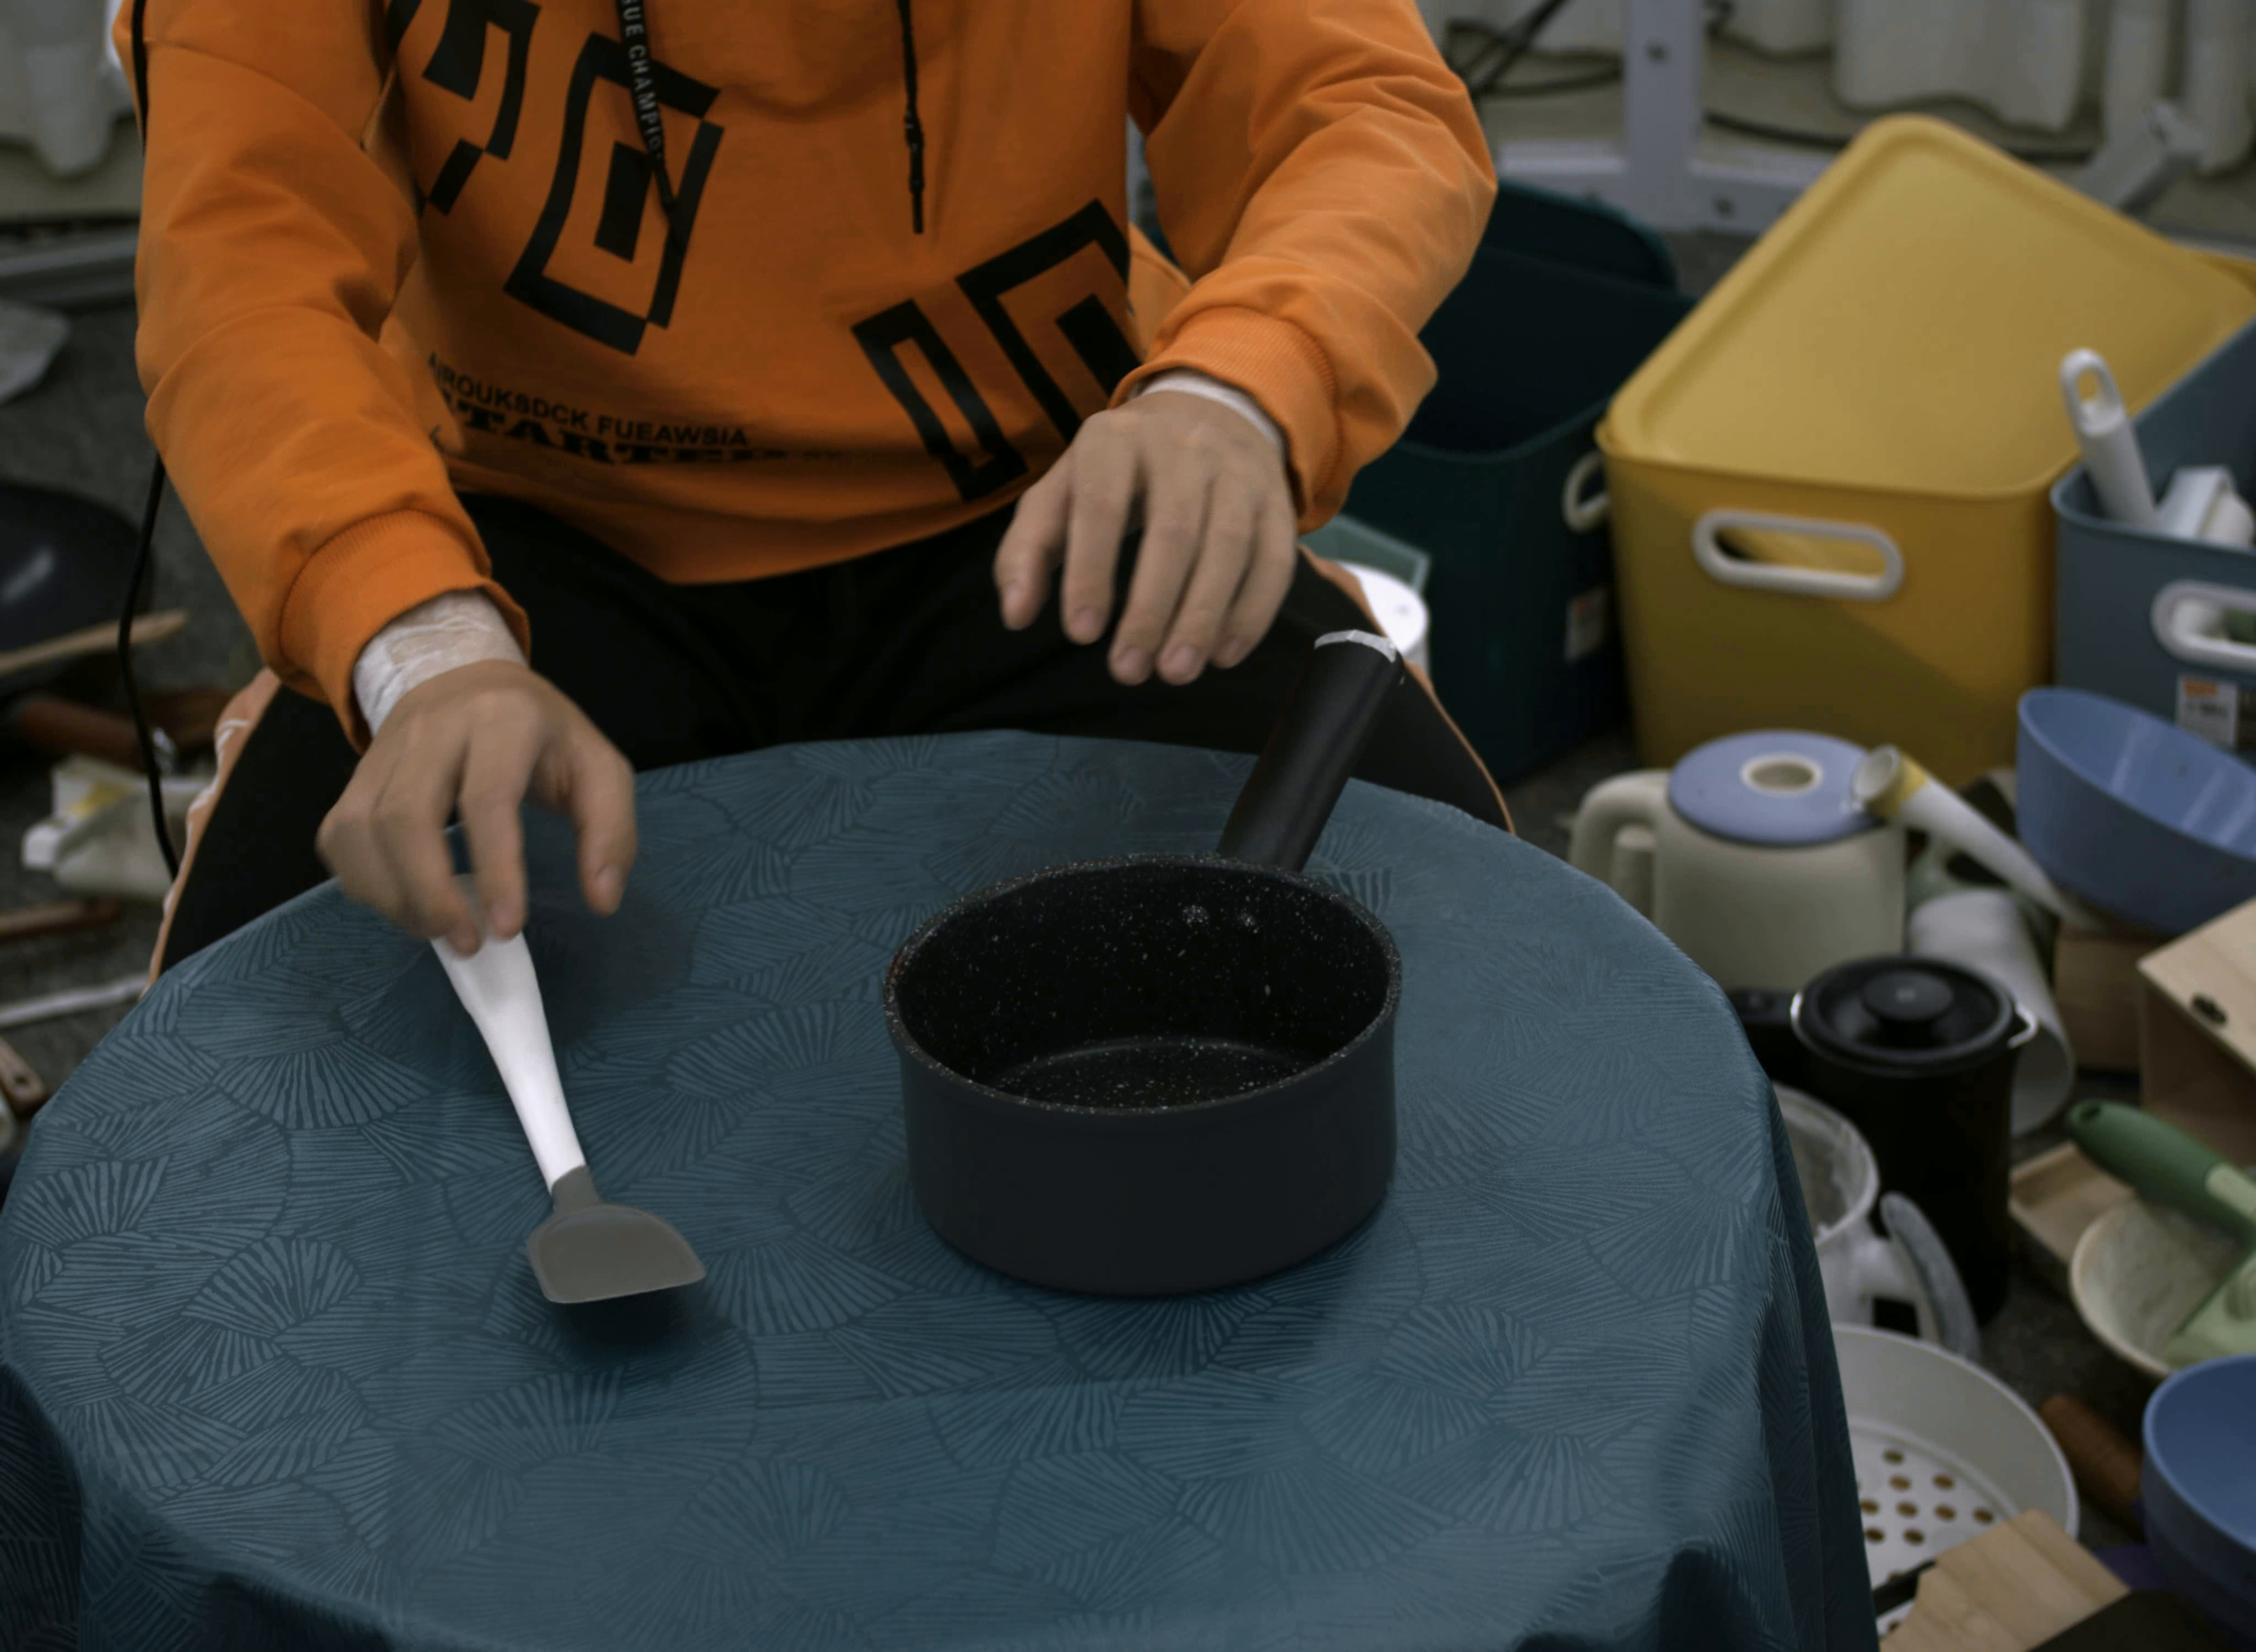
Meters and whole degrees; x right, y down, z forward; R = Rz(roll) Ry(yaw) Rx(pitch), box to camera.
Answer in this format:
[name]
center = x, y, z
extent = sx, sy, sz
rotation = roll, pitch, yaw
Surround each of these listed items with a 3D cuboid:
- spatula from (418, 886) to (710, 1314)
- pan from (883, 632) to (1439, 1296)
[spatula]
center = -0.197, 0.097, 1.896
extent = 0.059, 0.032, 0.290
rotation = -6, 26, -16
[pan]
center = 0.036, 0.043, 1.919
extent = 0.171, 0.085, 0.334
rotation = 9, 31, 20
